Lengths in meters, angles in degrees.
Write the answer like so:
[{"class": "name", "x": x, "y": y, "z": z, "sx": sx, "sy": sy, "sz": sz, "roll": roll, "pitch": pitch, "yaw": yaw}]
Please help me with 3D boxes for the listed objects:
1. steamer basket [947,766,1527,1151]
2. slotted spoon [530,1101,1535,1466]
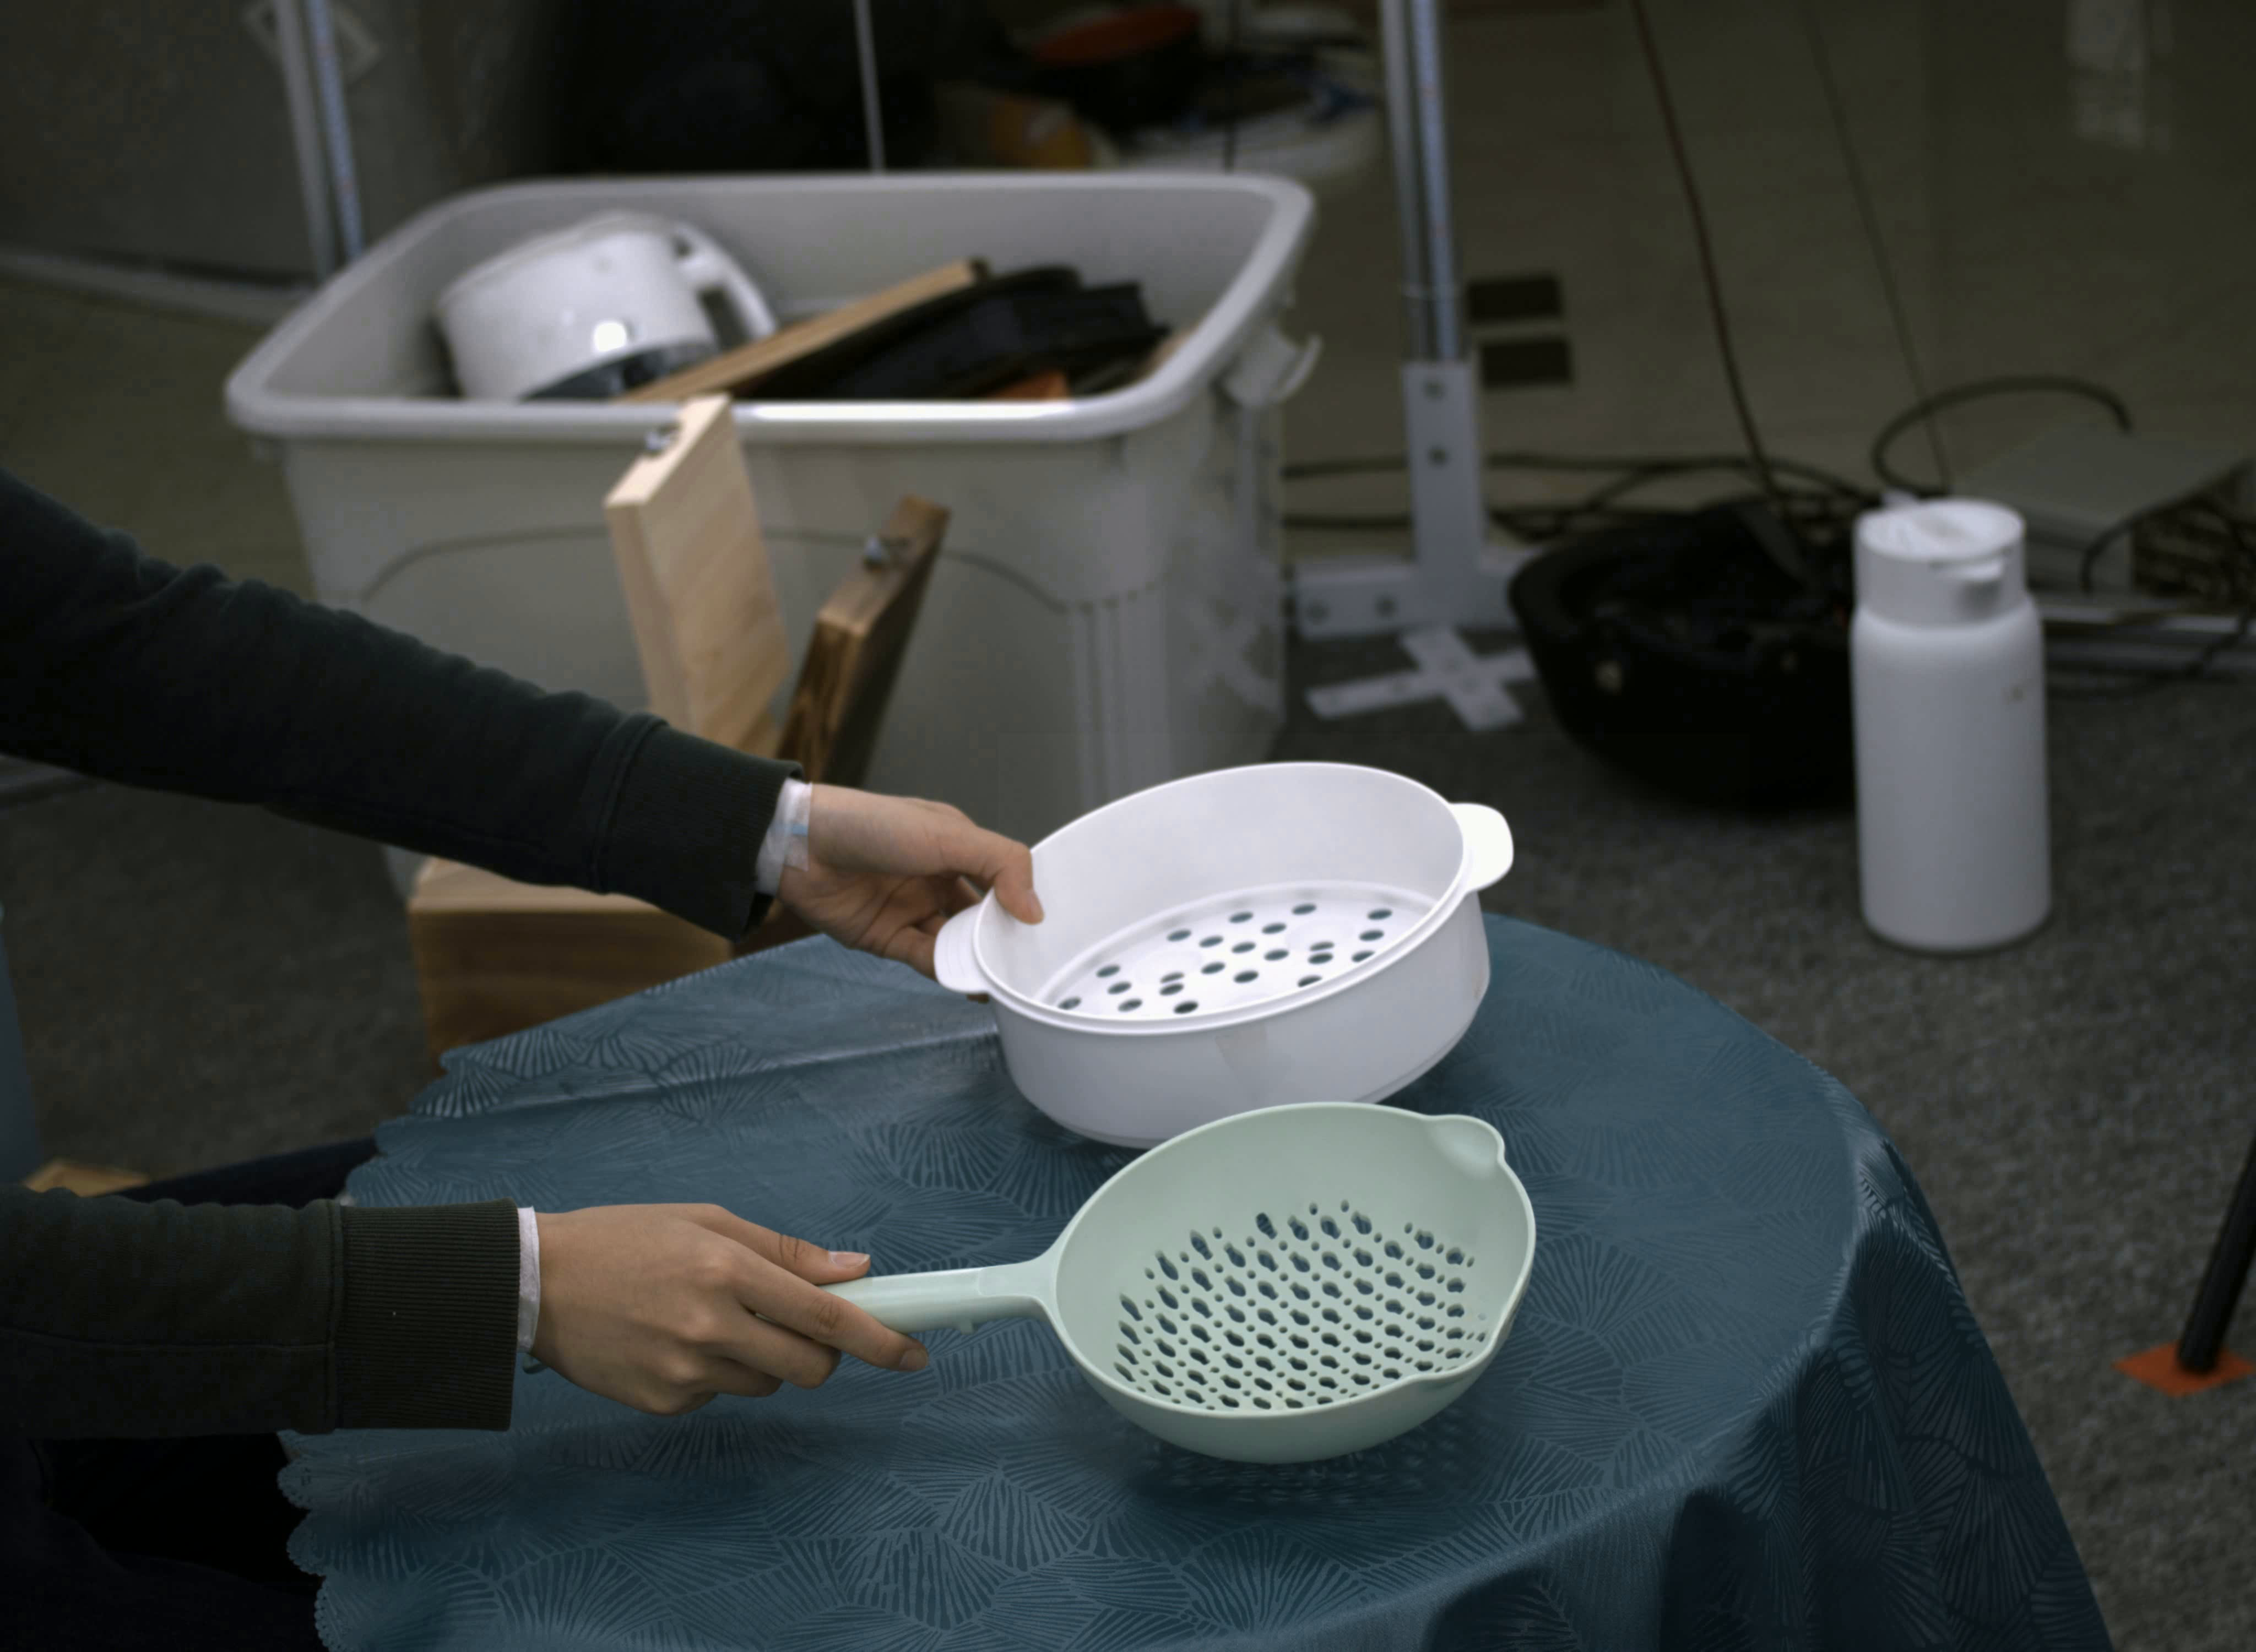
[{"class": "steamer basket", "x": 0.047, "y": 0.052, "z": 2.209, "sx": 0.230, "sy": 0.070, "sz": 0.199, "roll": -13, "pitch": 27, "yaw": 4}, {"class": "slotted spoon", "x": -0.037, "y": 0.168, "z": 1.991, "sx": 0.358, "sy": 0.077, "sz": 0.166, "roll": 1, "pitch": 35, "yaw": 5}]
